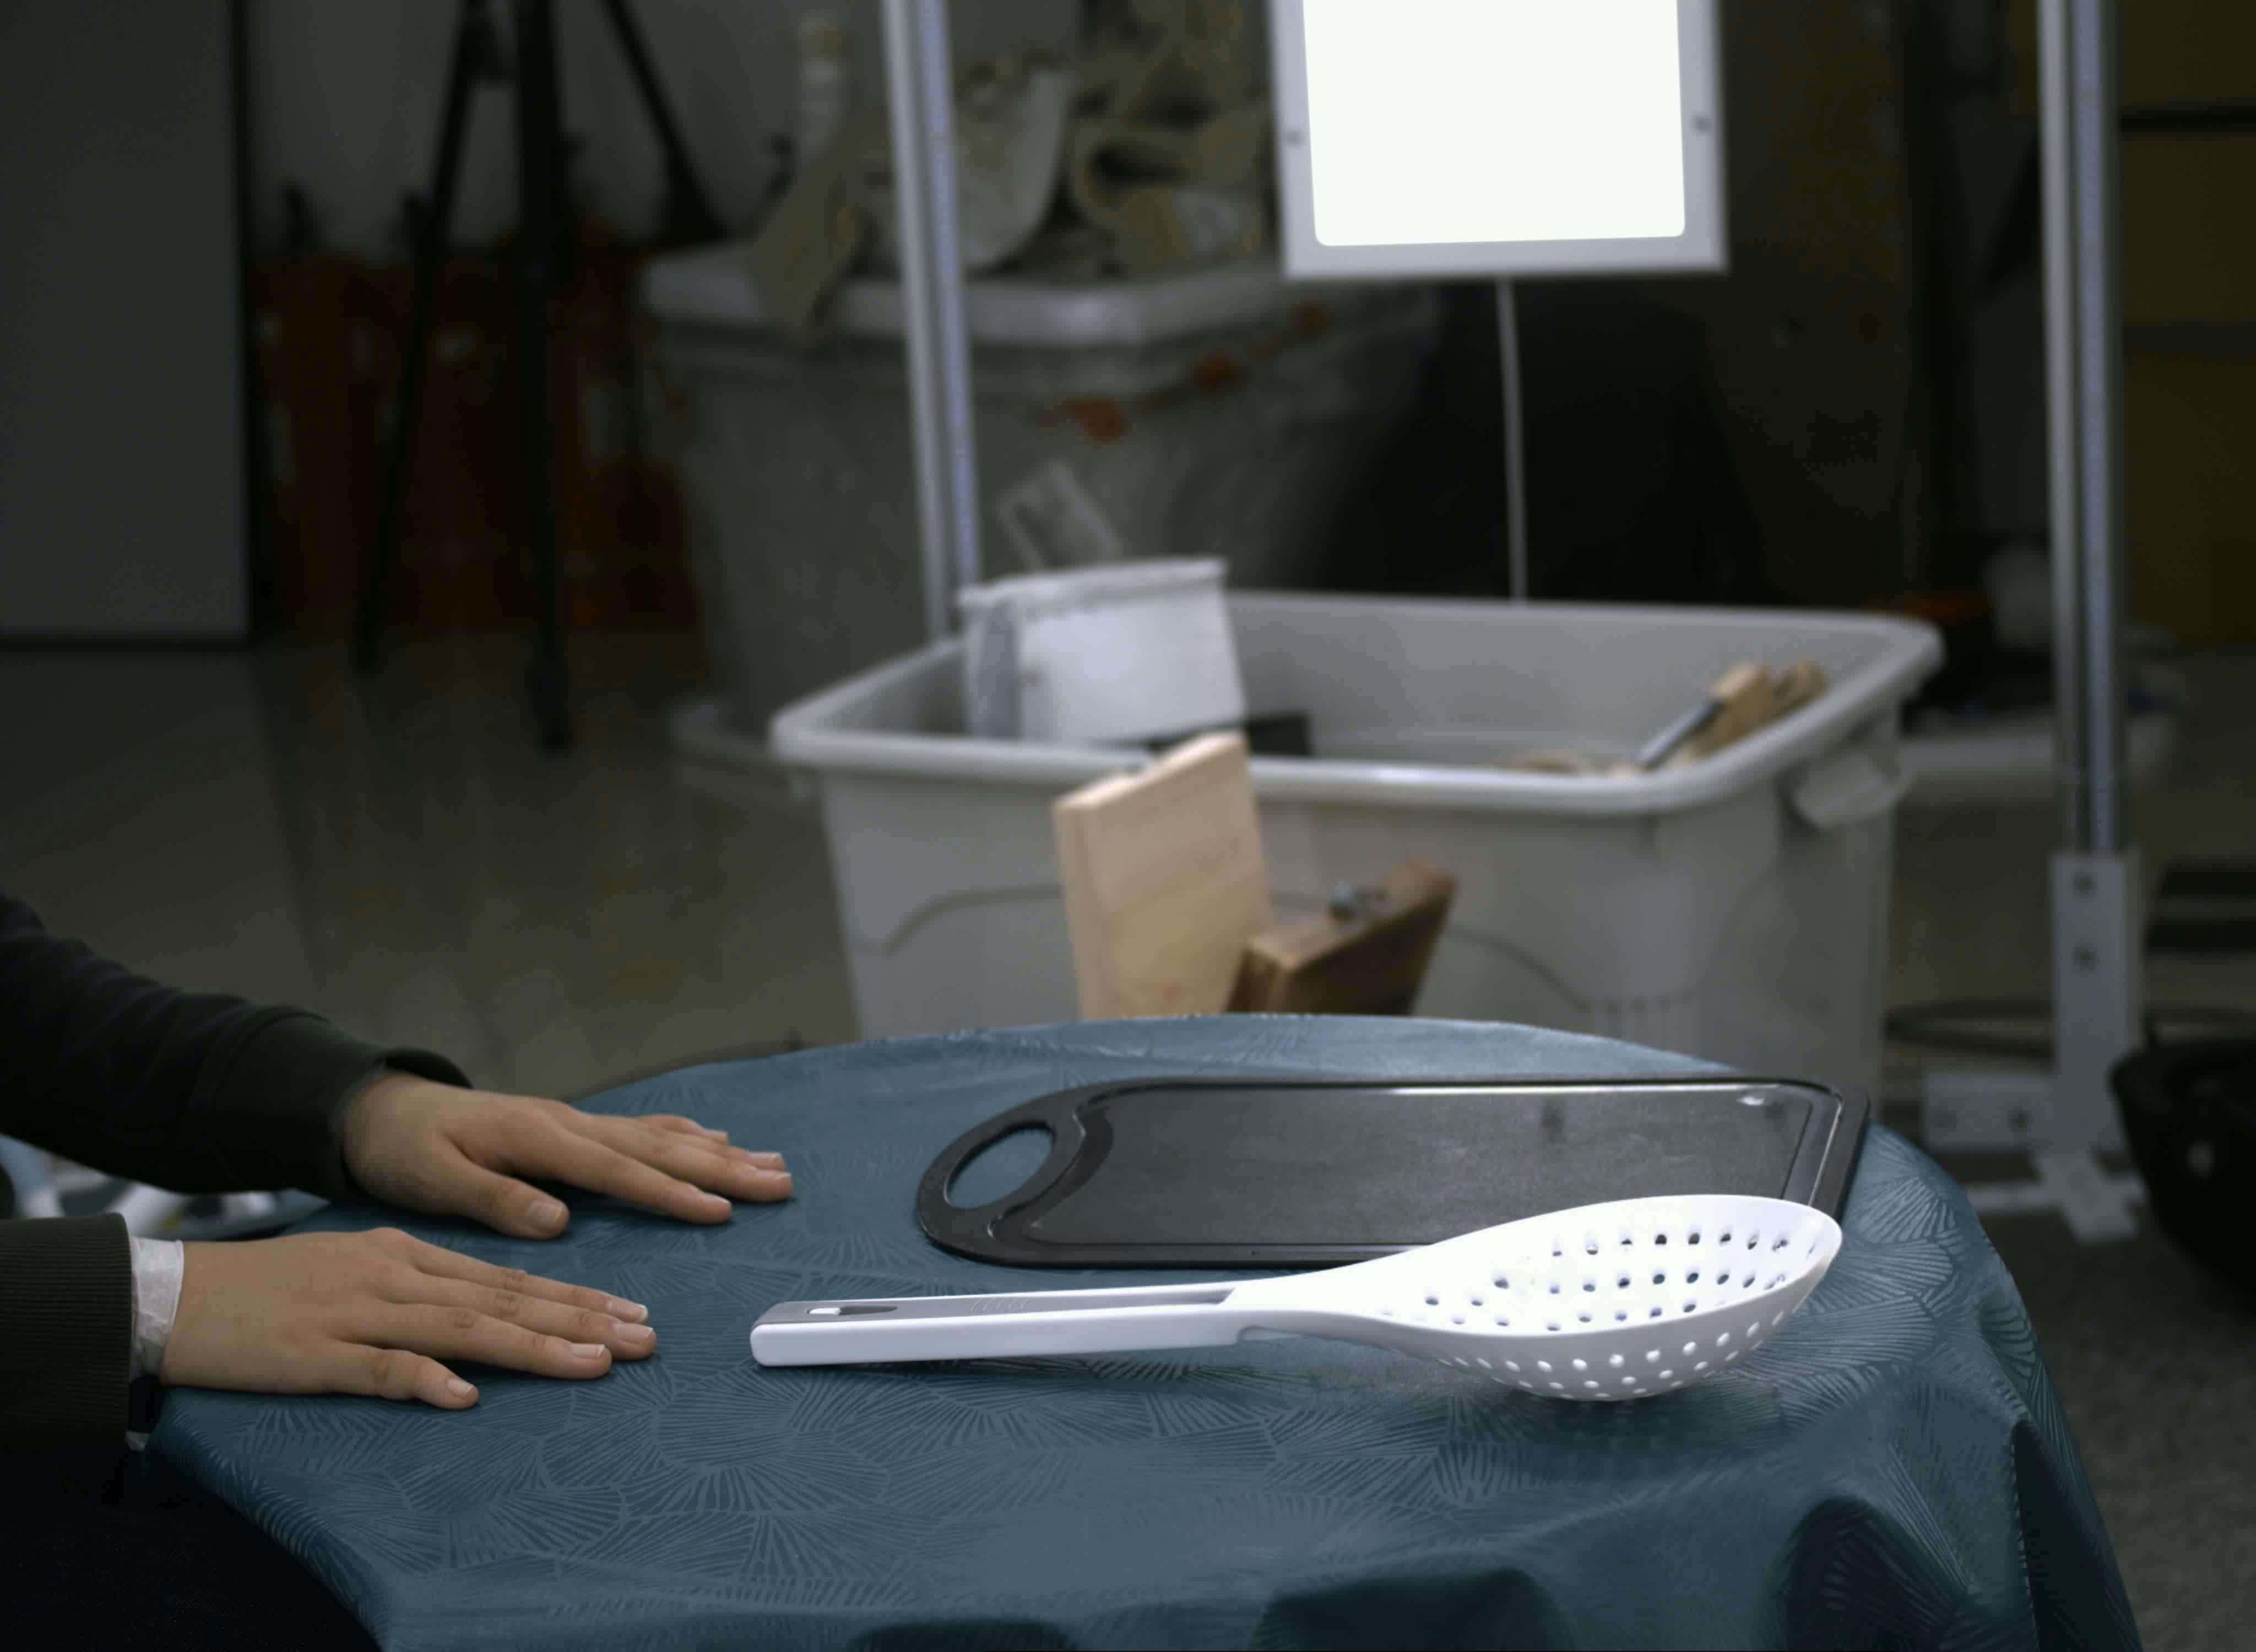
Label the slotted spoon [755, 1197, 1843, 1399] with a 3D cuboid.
[{"bbox_3d":[0.048,0.148,1.697,0.354,0.046,0.134,-1,12,20],"label":"slotted spoon"}]

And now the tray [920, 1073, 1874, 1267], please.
[{"bbox_3d":[0.090,0.116,1.895,0.328,0.010,0.208,-2,14,15],"label":"tray"}]
